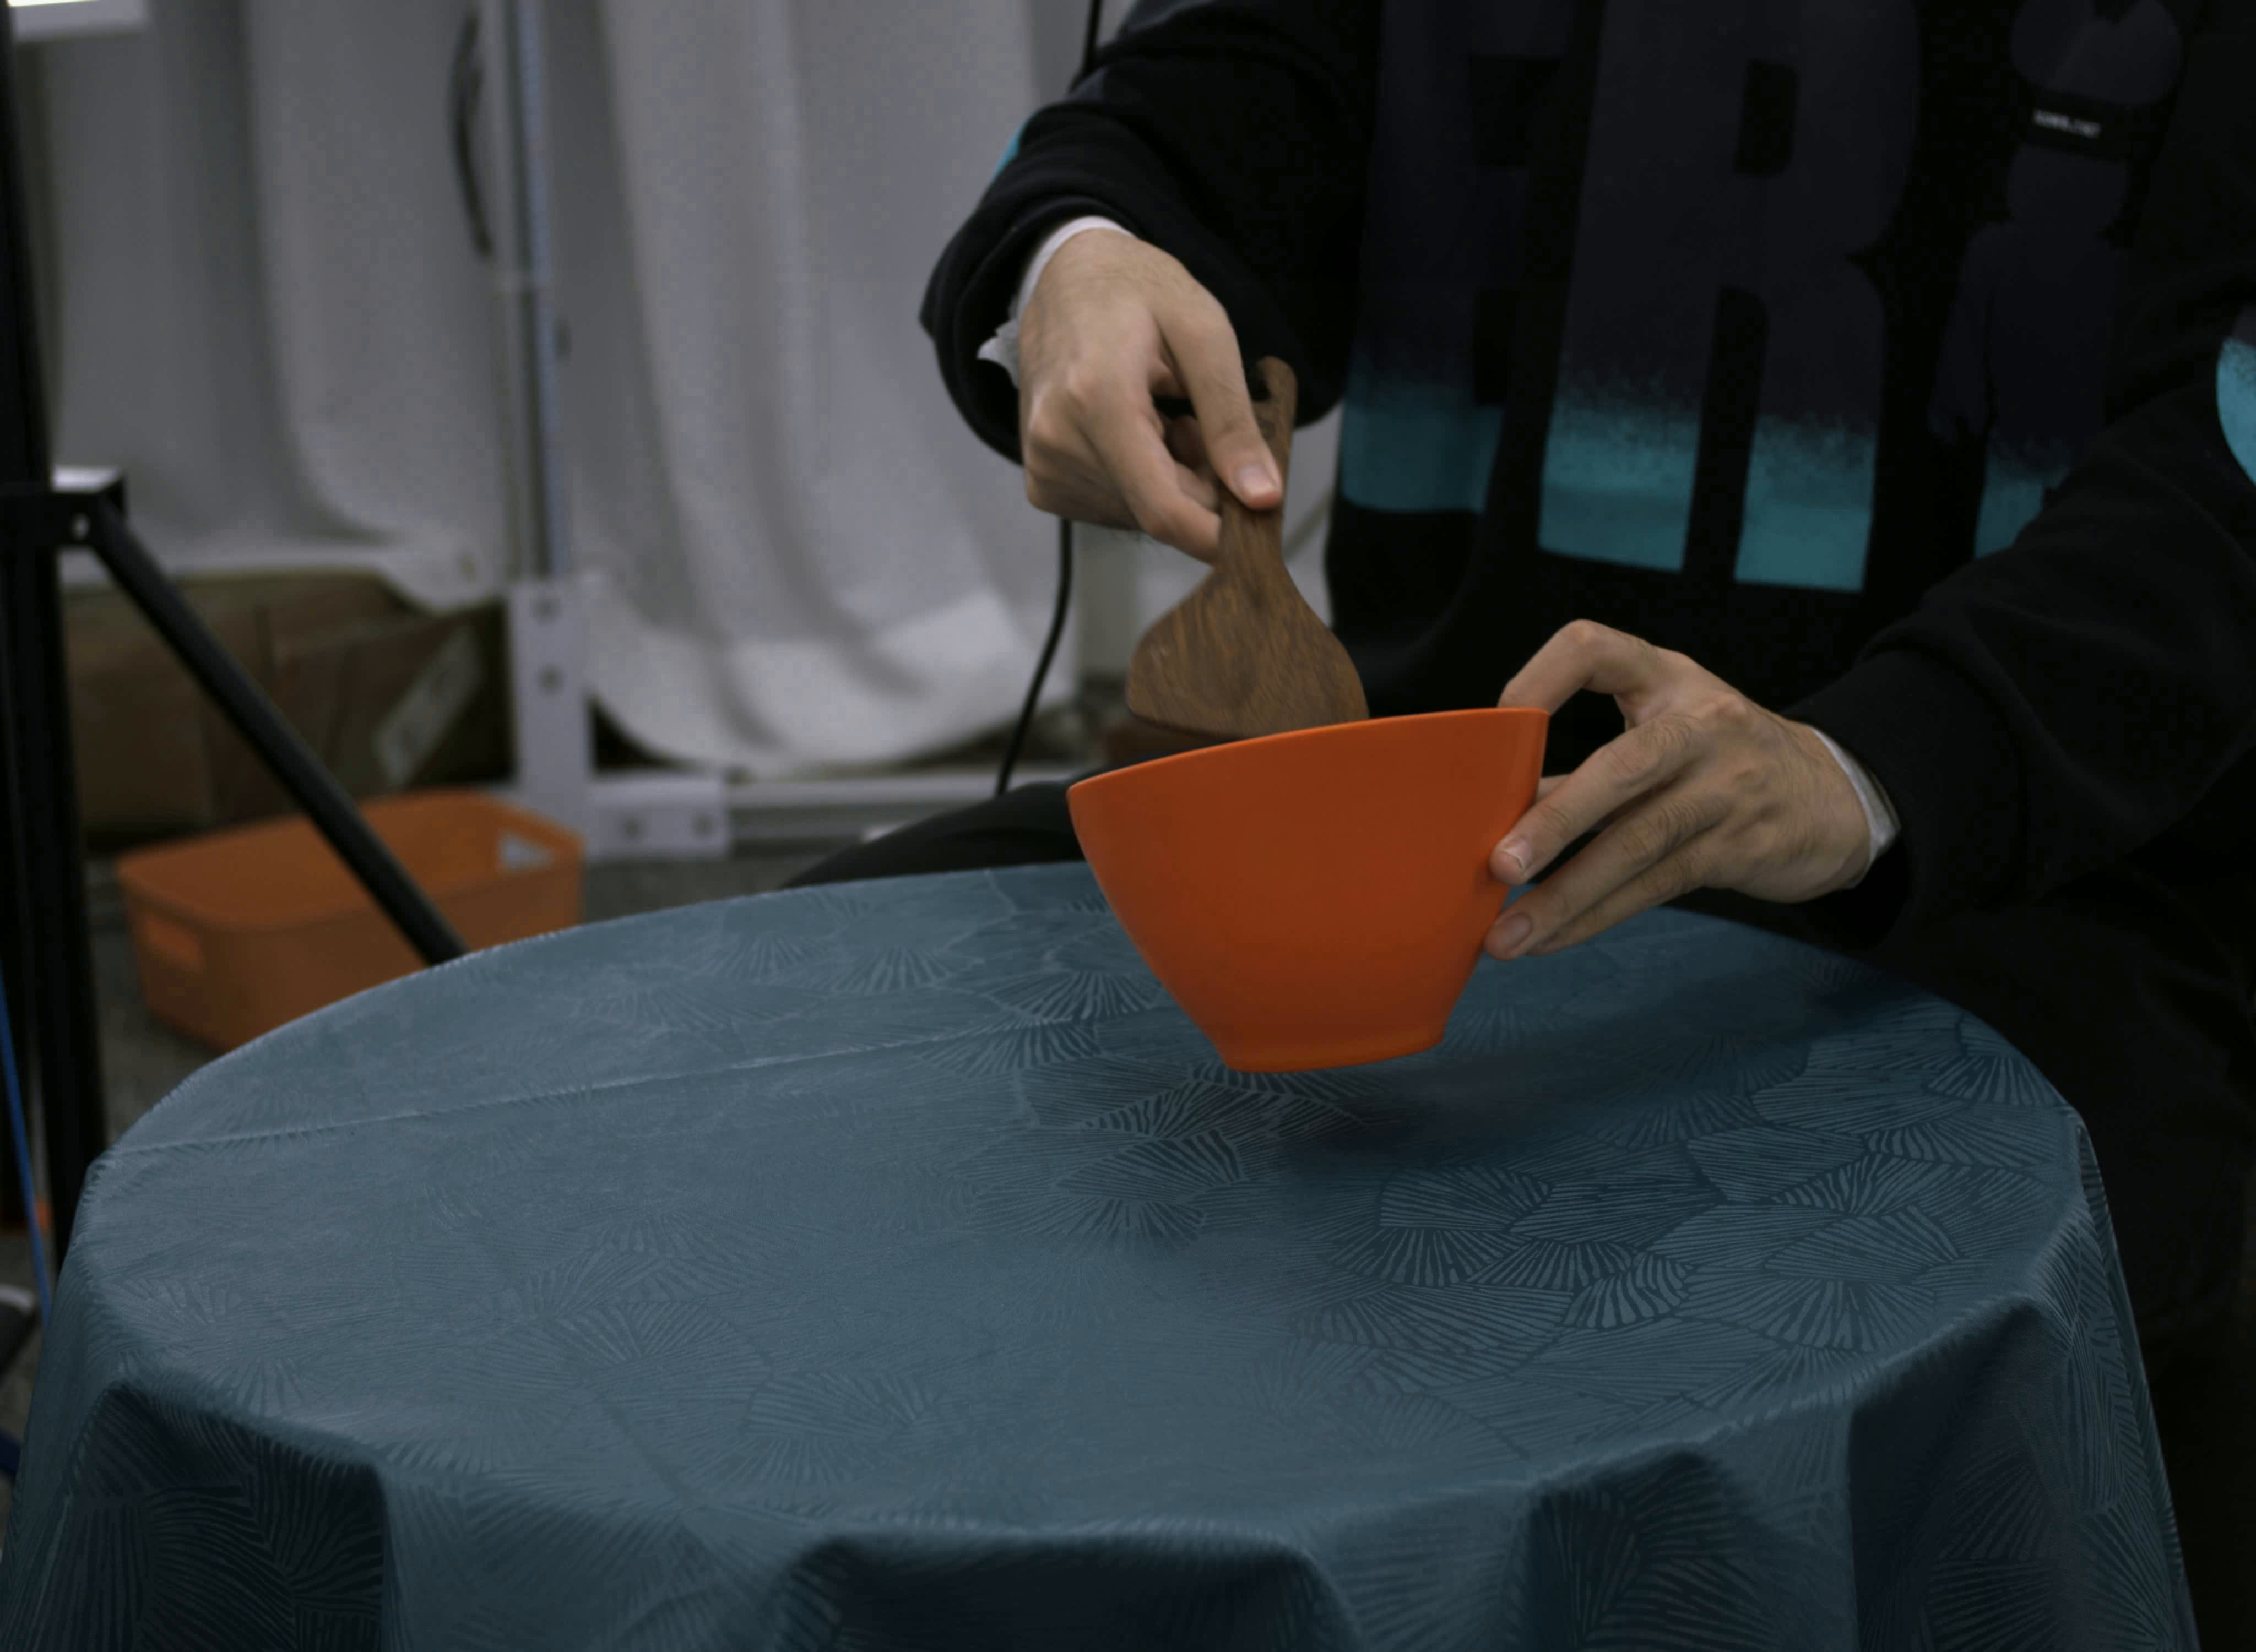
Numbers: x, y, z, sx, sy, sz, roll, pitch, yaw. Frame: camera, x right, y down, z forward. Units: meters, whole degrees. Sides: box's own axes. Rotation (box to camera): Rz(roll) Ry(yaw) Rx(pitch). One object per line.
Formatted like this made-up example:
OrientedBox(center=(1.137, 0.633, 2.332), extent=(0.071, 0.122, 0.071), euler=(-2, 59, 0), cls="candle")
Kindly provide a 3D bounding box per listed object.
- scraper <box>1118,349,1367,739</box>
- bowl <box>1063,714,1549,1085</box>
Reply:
OrientedBox(center=(0.038, -0.089, 1.660), extent=(0.075, 0.011, 0.213), euler=(7, 37, -2), cls="scraper")
OrientedBox(center=(0.058, 0.022, 1.587), extent=(0.147, 0.105, 0.148), euler=(-8, 4, -1), cls="bowl")
